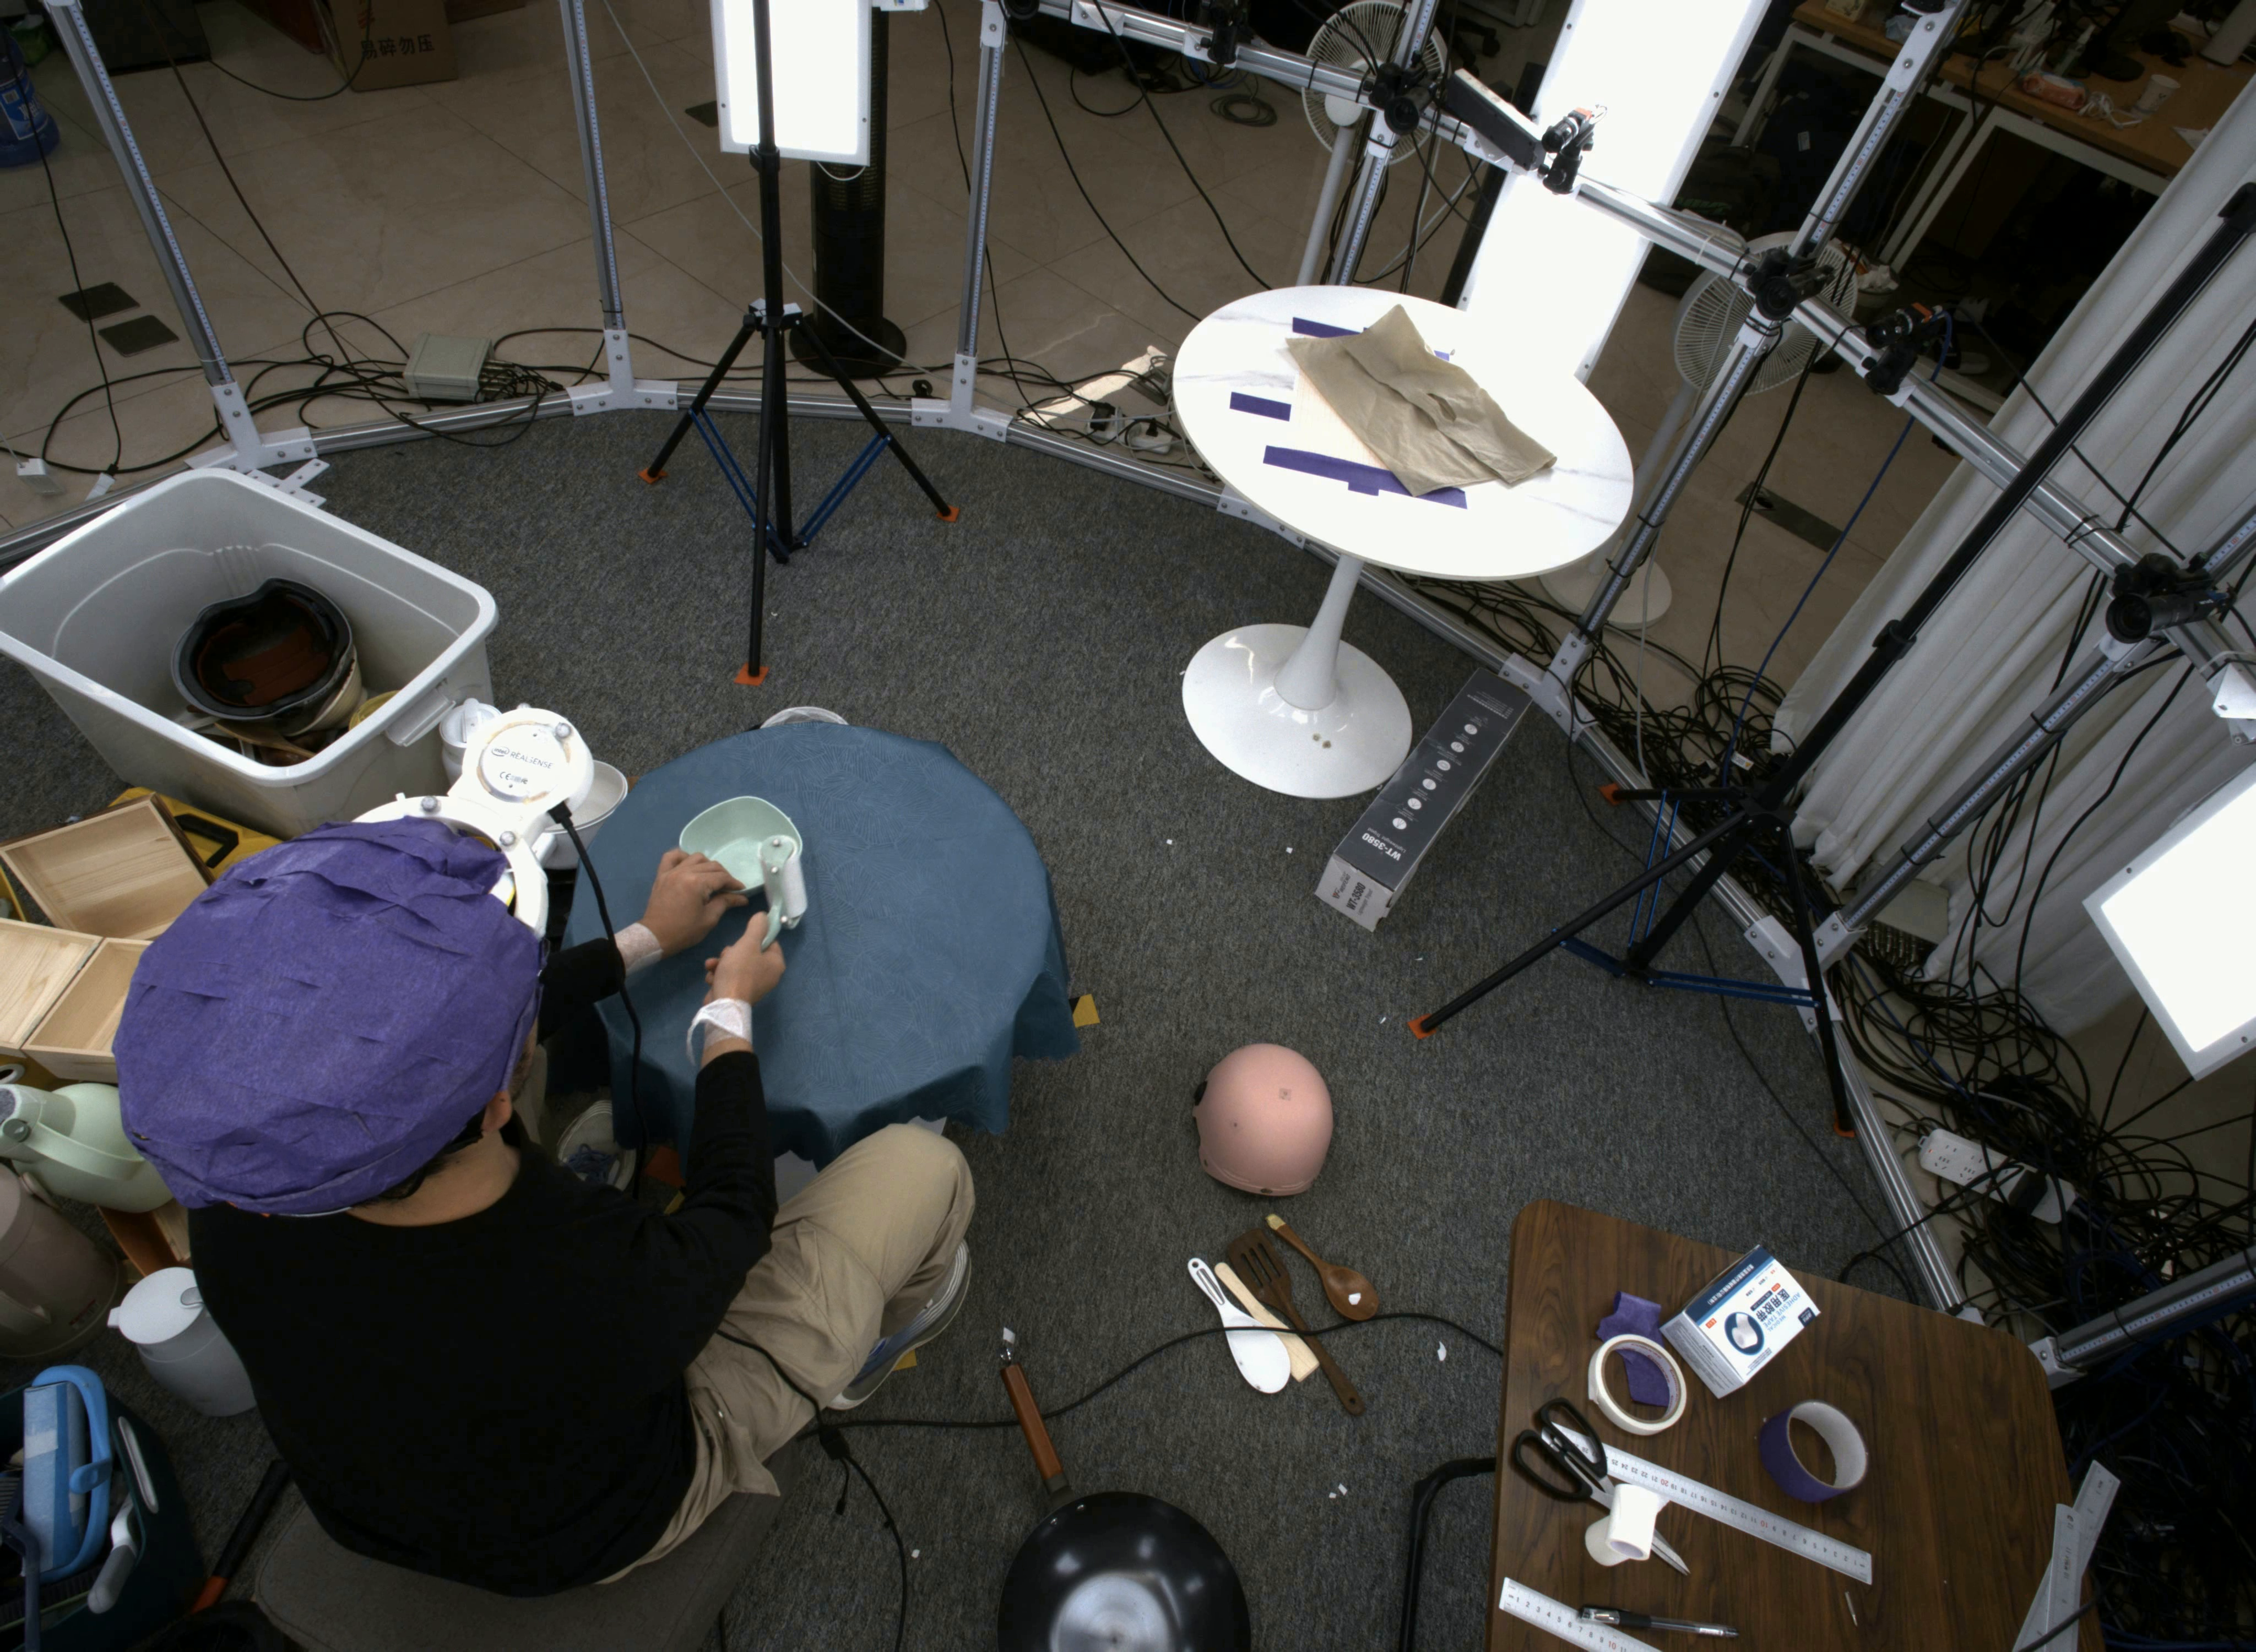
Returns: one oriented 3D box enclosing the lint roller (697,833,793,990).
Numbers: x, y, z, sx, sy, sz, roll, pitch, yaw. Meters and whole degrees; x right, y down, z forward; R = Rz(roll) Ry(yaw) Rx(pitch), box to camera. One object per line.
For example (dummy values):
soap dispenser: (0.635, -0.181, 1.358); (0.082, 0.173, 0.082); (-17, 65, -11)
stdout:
lint roller: (-0.447, 0.109, 1.508); (0.048, 0.120, 0.194); (8, 45, 4)

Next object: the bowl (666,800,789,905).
bowl: (-0.504, 0.042, 1.630); (0.151, 0.060, 0.148); (8, 51, -8)
